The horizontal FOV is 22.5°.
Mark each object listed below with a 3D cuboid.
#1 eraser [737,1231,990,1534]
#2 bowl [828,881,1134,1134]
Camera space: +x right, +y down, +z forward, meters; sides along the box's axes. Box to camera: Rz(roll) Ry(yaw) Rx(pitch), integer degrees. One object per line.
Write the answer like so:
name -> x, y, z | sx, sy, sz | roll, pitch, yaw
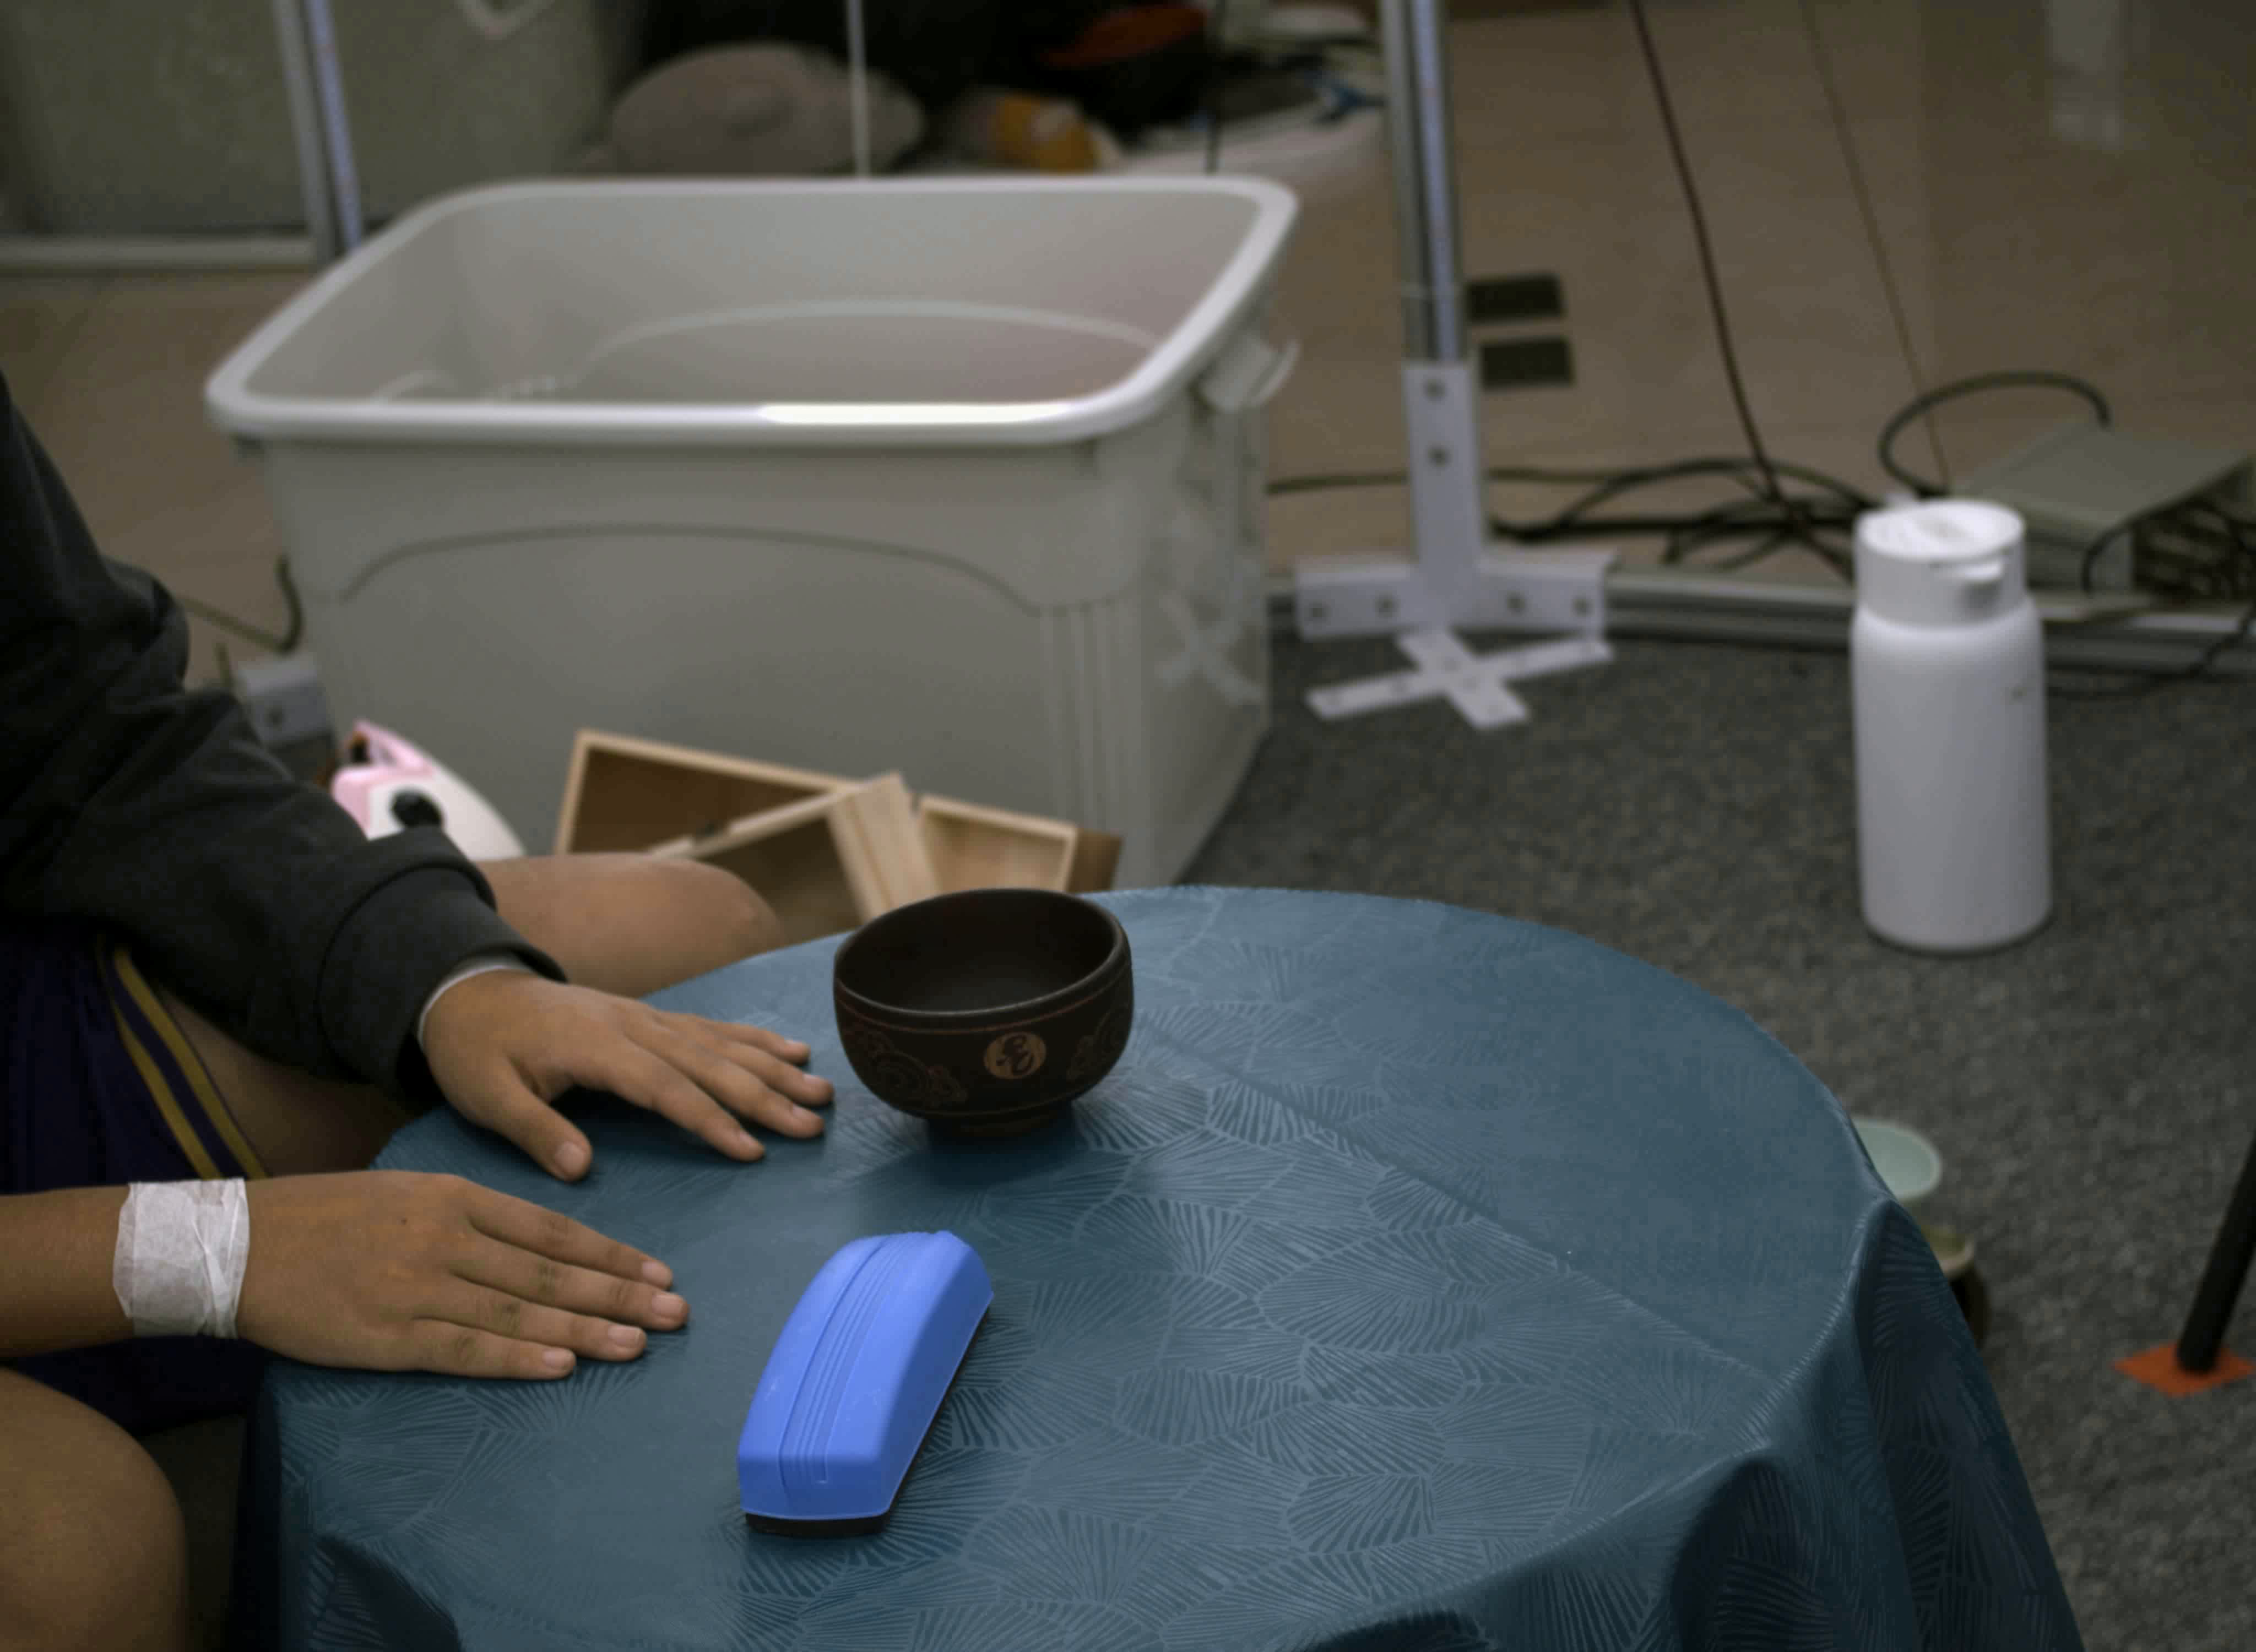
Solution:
eraser -> -0.093, 0.190, 2.006 | 0.054, 0.048, 0.160 | 2, 26, 13
bowl -> -0.055, 0.076, 2.206 | 0.118, 0.071, 0.116 | -6, 26, 3
